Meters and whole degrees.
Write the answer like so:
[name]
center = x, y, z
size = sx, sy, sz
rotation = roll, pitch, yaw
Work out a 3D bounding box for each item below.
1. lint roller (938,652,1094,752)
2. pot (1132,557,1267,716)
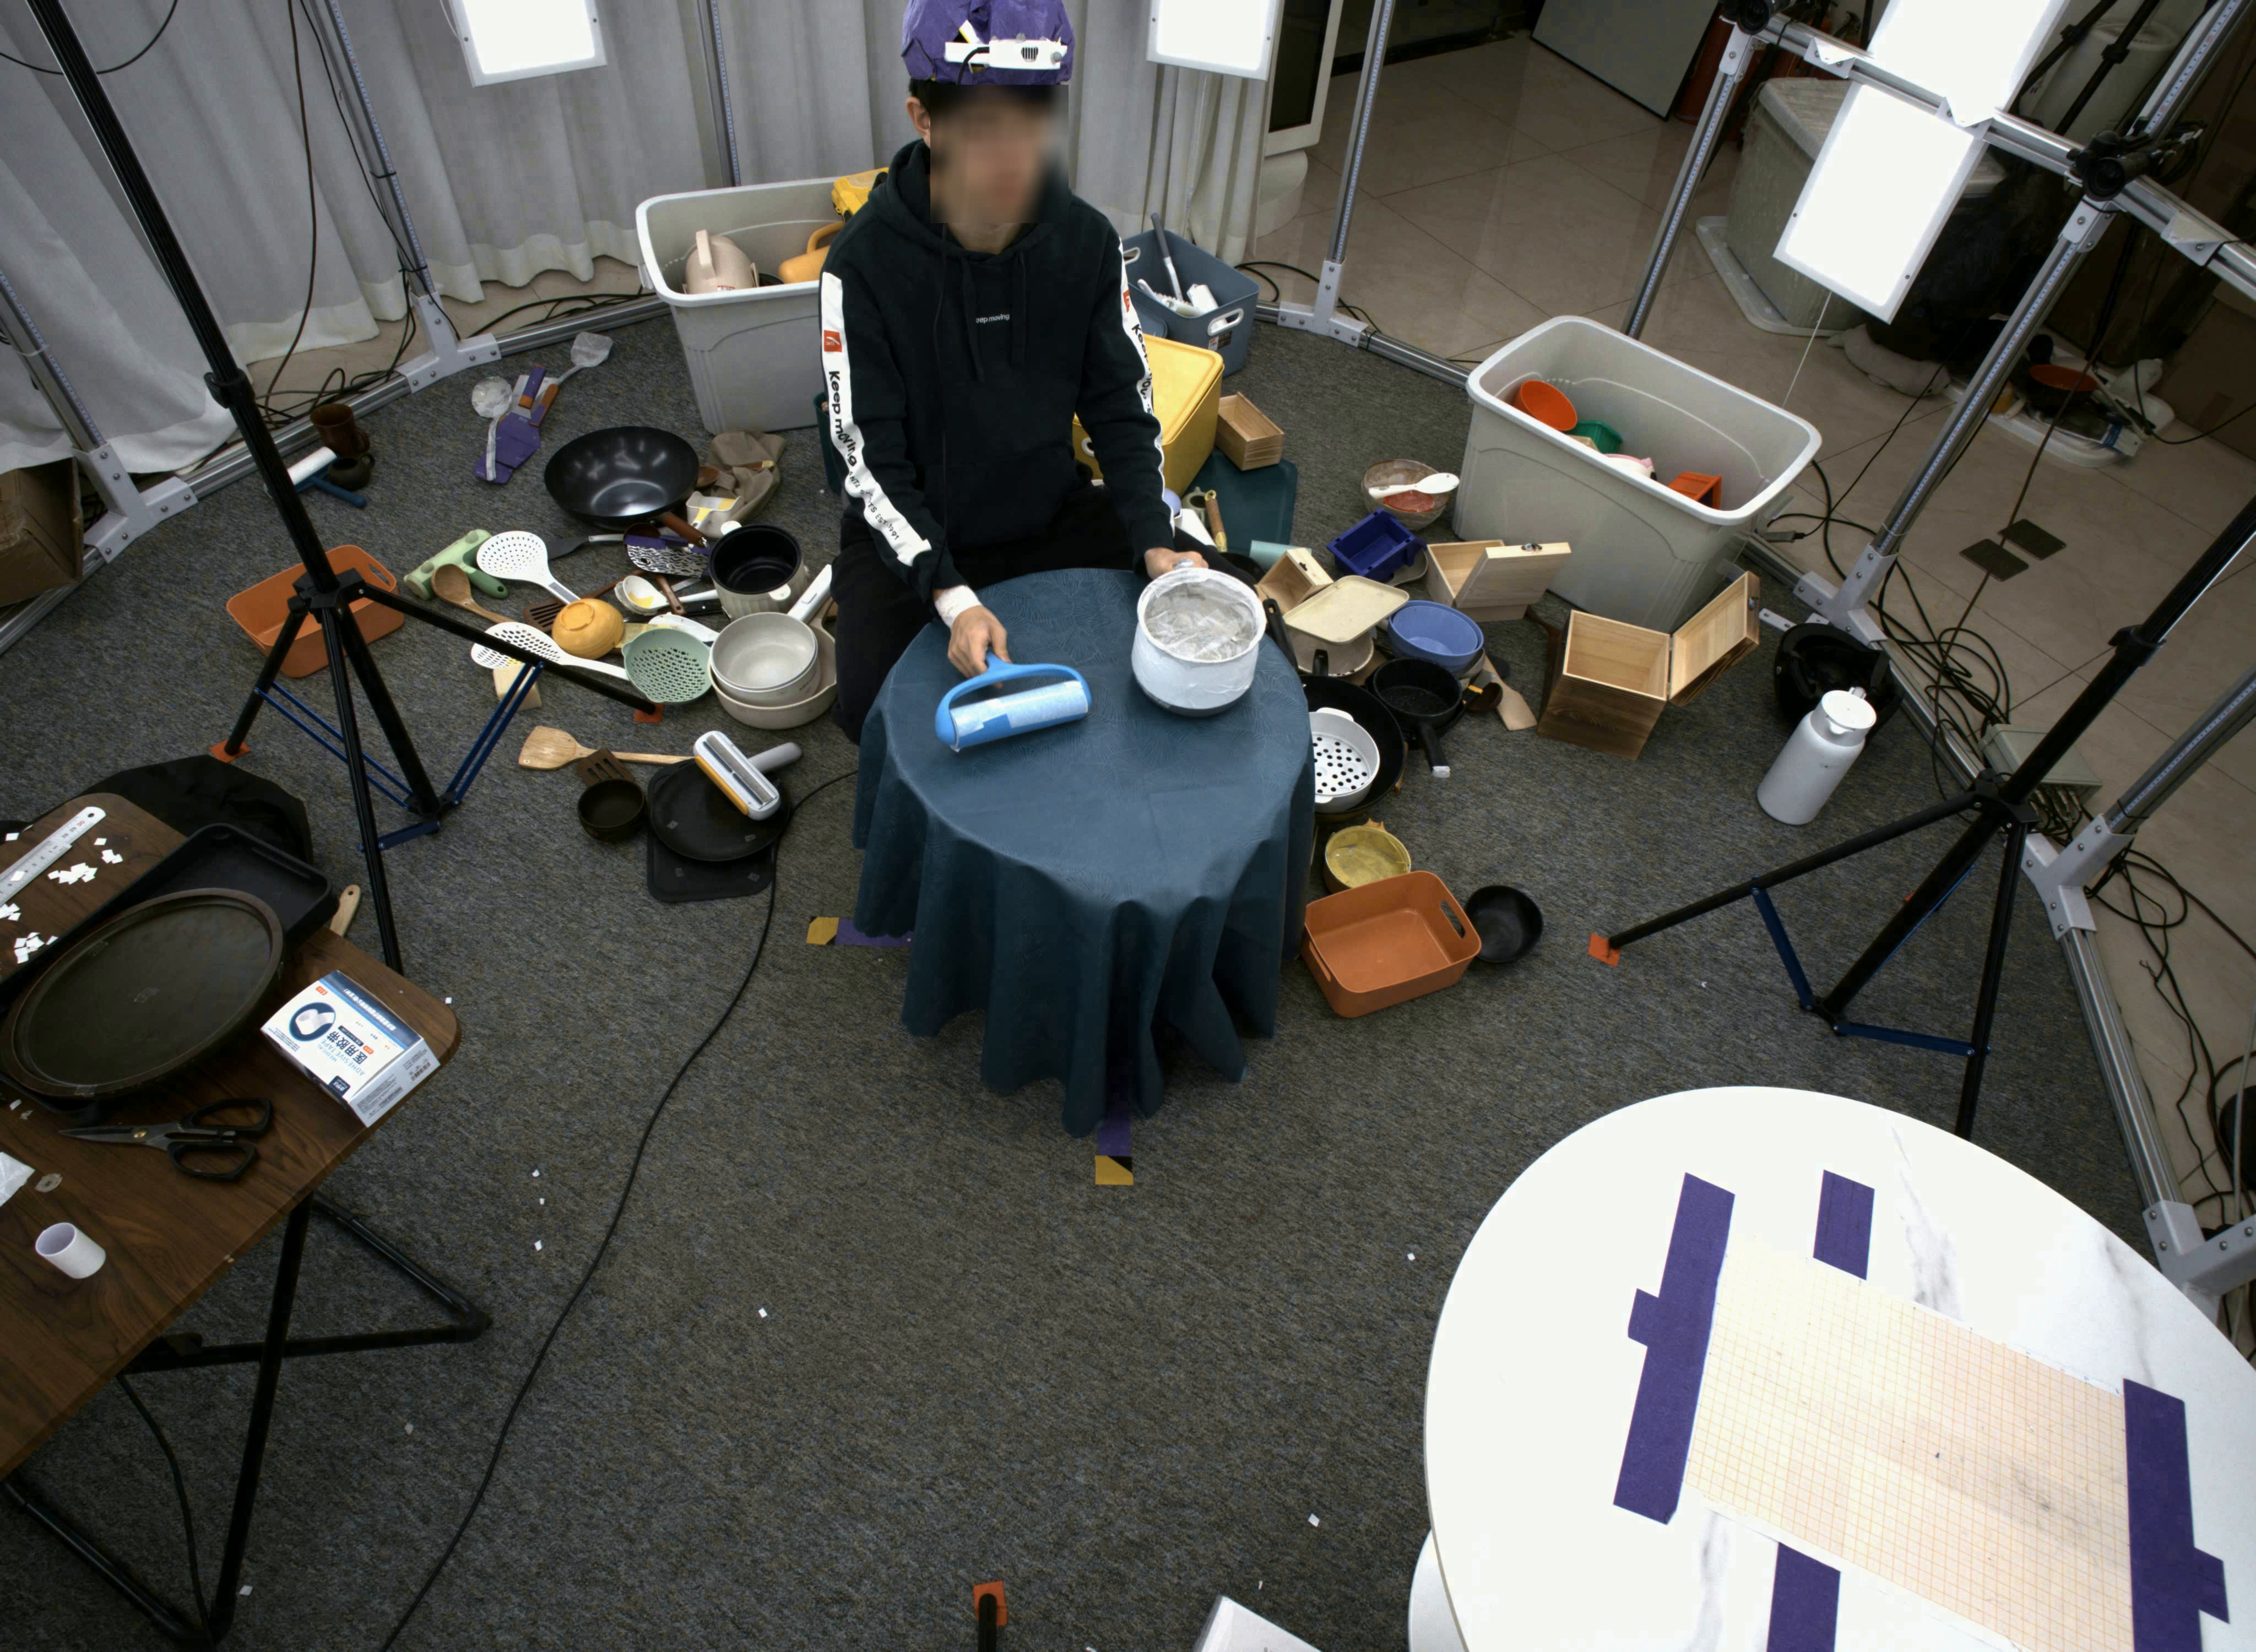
[lint roller]
center = -0.179, -0.194, 1.768
size = 0.229, 0.066, 0.184
rotation = -21, 56, -25
[pot]
center = 0.091, -0.278, 1.813
size = 0.178, 0.133, 0.239
rotation = -6, 57, -9
